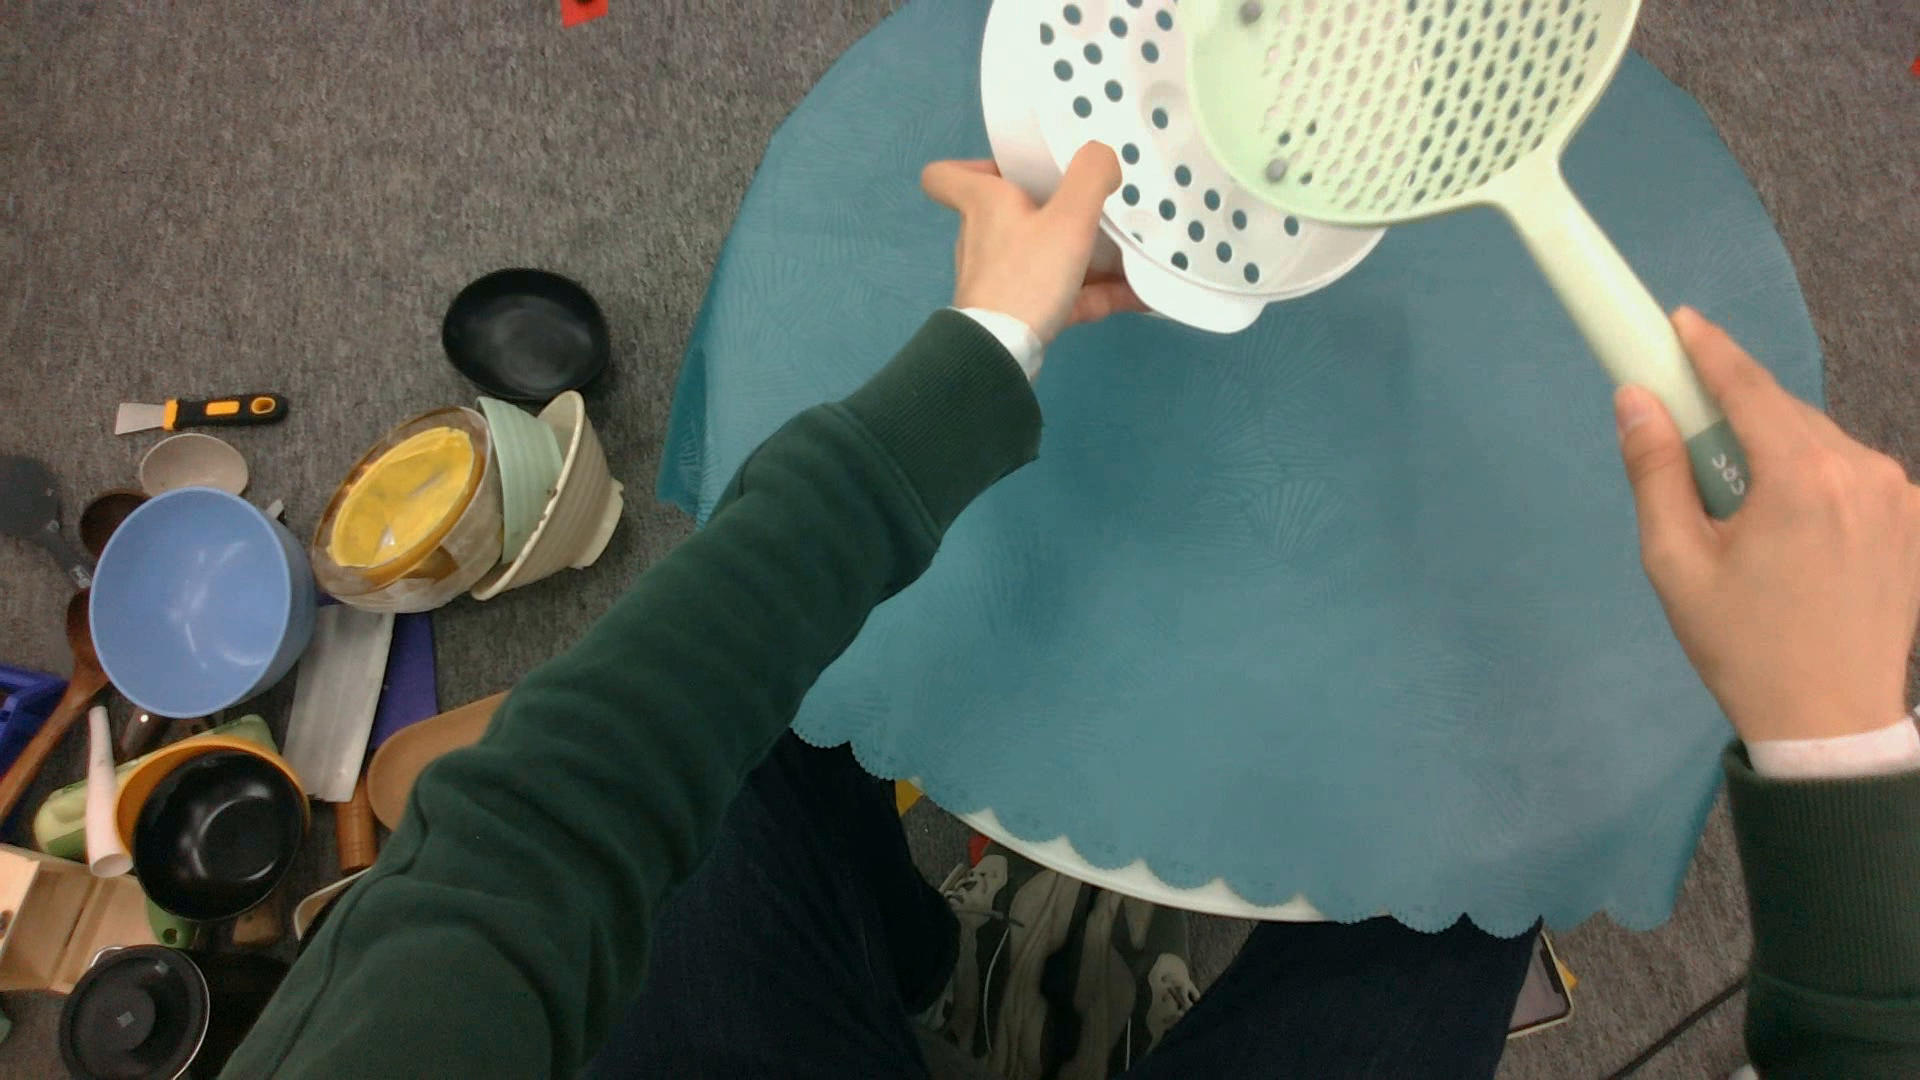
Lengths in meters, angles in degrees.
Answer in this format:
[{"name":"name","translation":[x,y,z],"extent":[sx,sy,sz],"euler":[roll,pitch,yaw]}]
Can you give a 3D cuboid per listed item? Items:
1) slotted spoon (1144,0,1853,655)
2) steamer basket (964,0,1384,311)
[{"name":"slotted spoon","translation":[0.198,-0.120,0.493],"extent":[0.169,0.075,0.360],"euler":[-35,56,22]},{"name":"steamer basket","translation":[0.099,-0.210,0.623],"extent":[0.202,0.069,0.231],"euler":[14,80,-22]}]
